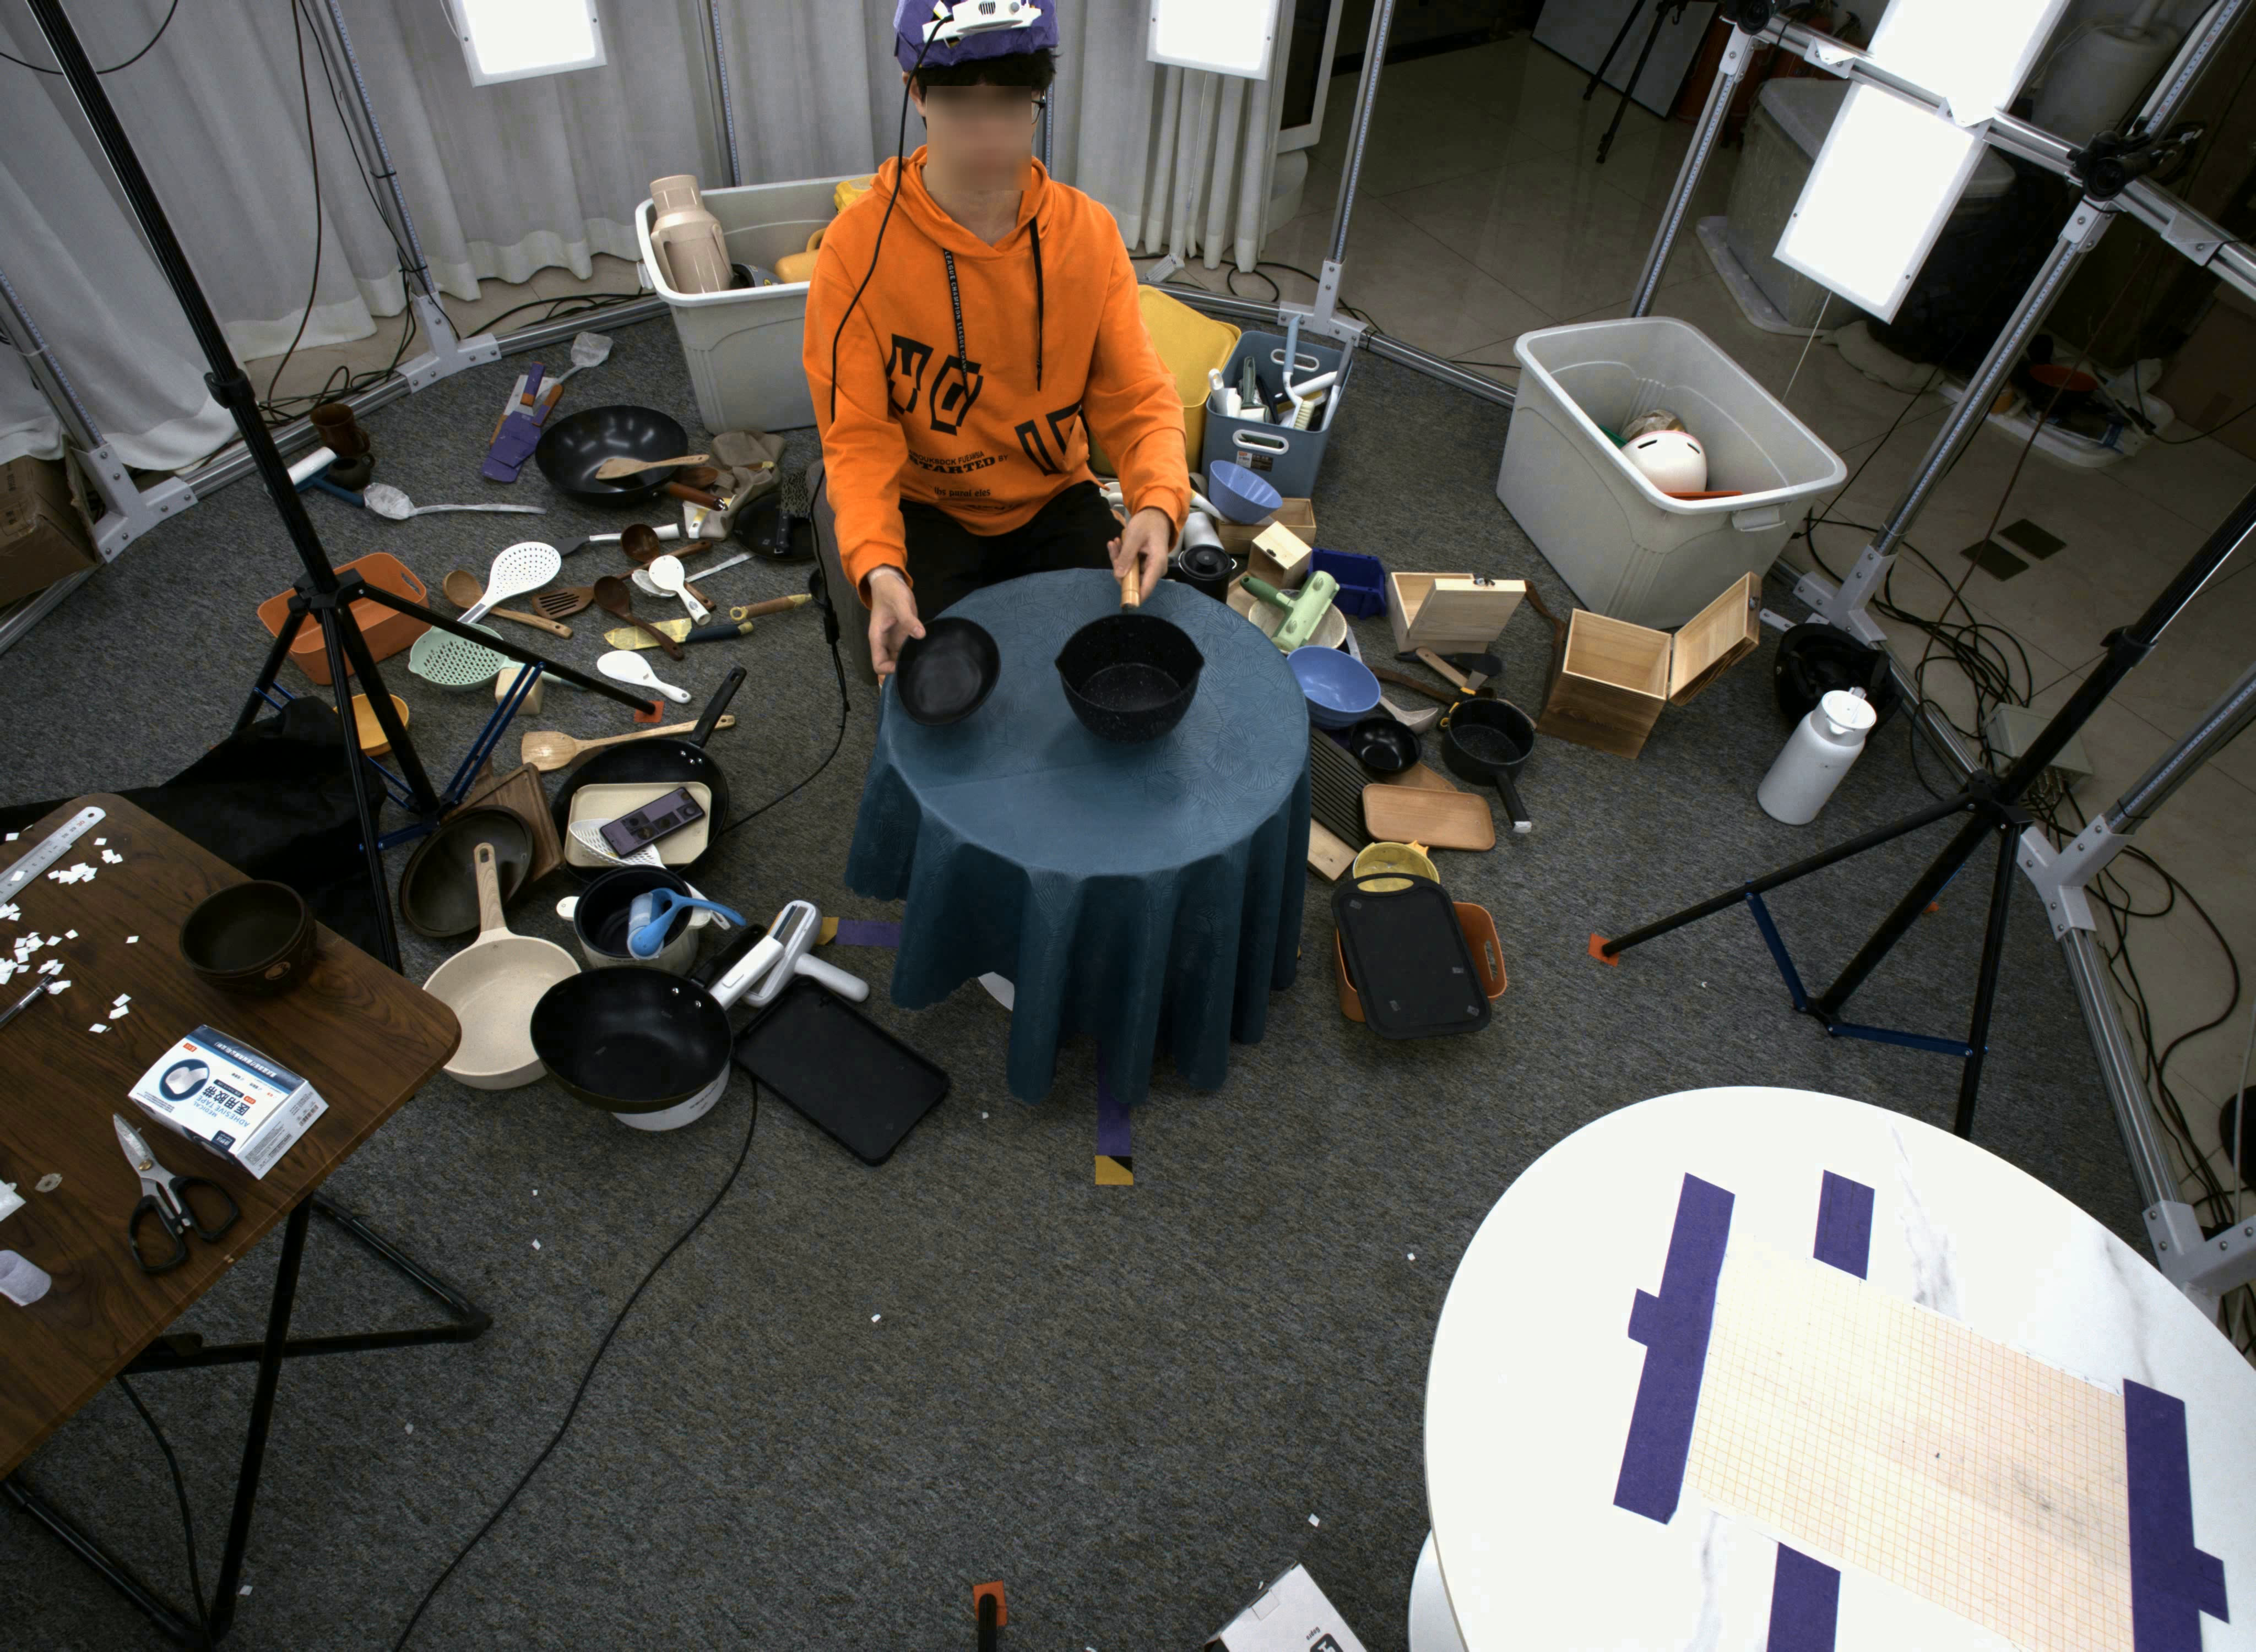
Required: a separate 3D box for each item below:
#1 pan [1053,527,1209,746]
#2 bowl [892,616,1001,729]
[{"bbox_3d":[0.003,-0.262,1.771,0.207,0.105,0.351,-1,52,1],"label":"pan"},{"bbox_3d":[-0.243,-0.198,1.735,0.137,0.065,0.173,21,66,3],"label":"bowl"}]
